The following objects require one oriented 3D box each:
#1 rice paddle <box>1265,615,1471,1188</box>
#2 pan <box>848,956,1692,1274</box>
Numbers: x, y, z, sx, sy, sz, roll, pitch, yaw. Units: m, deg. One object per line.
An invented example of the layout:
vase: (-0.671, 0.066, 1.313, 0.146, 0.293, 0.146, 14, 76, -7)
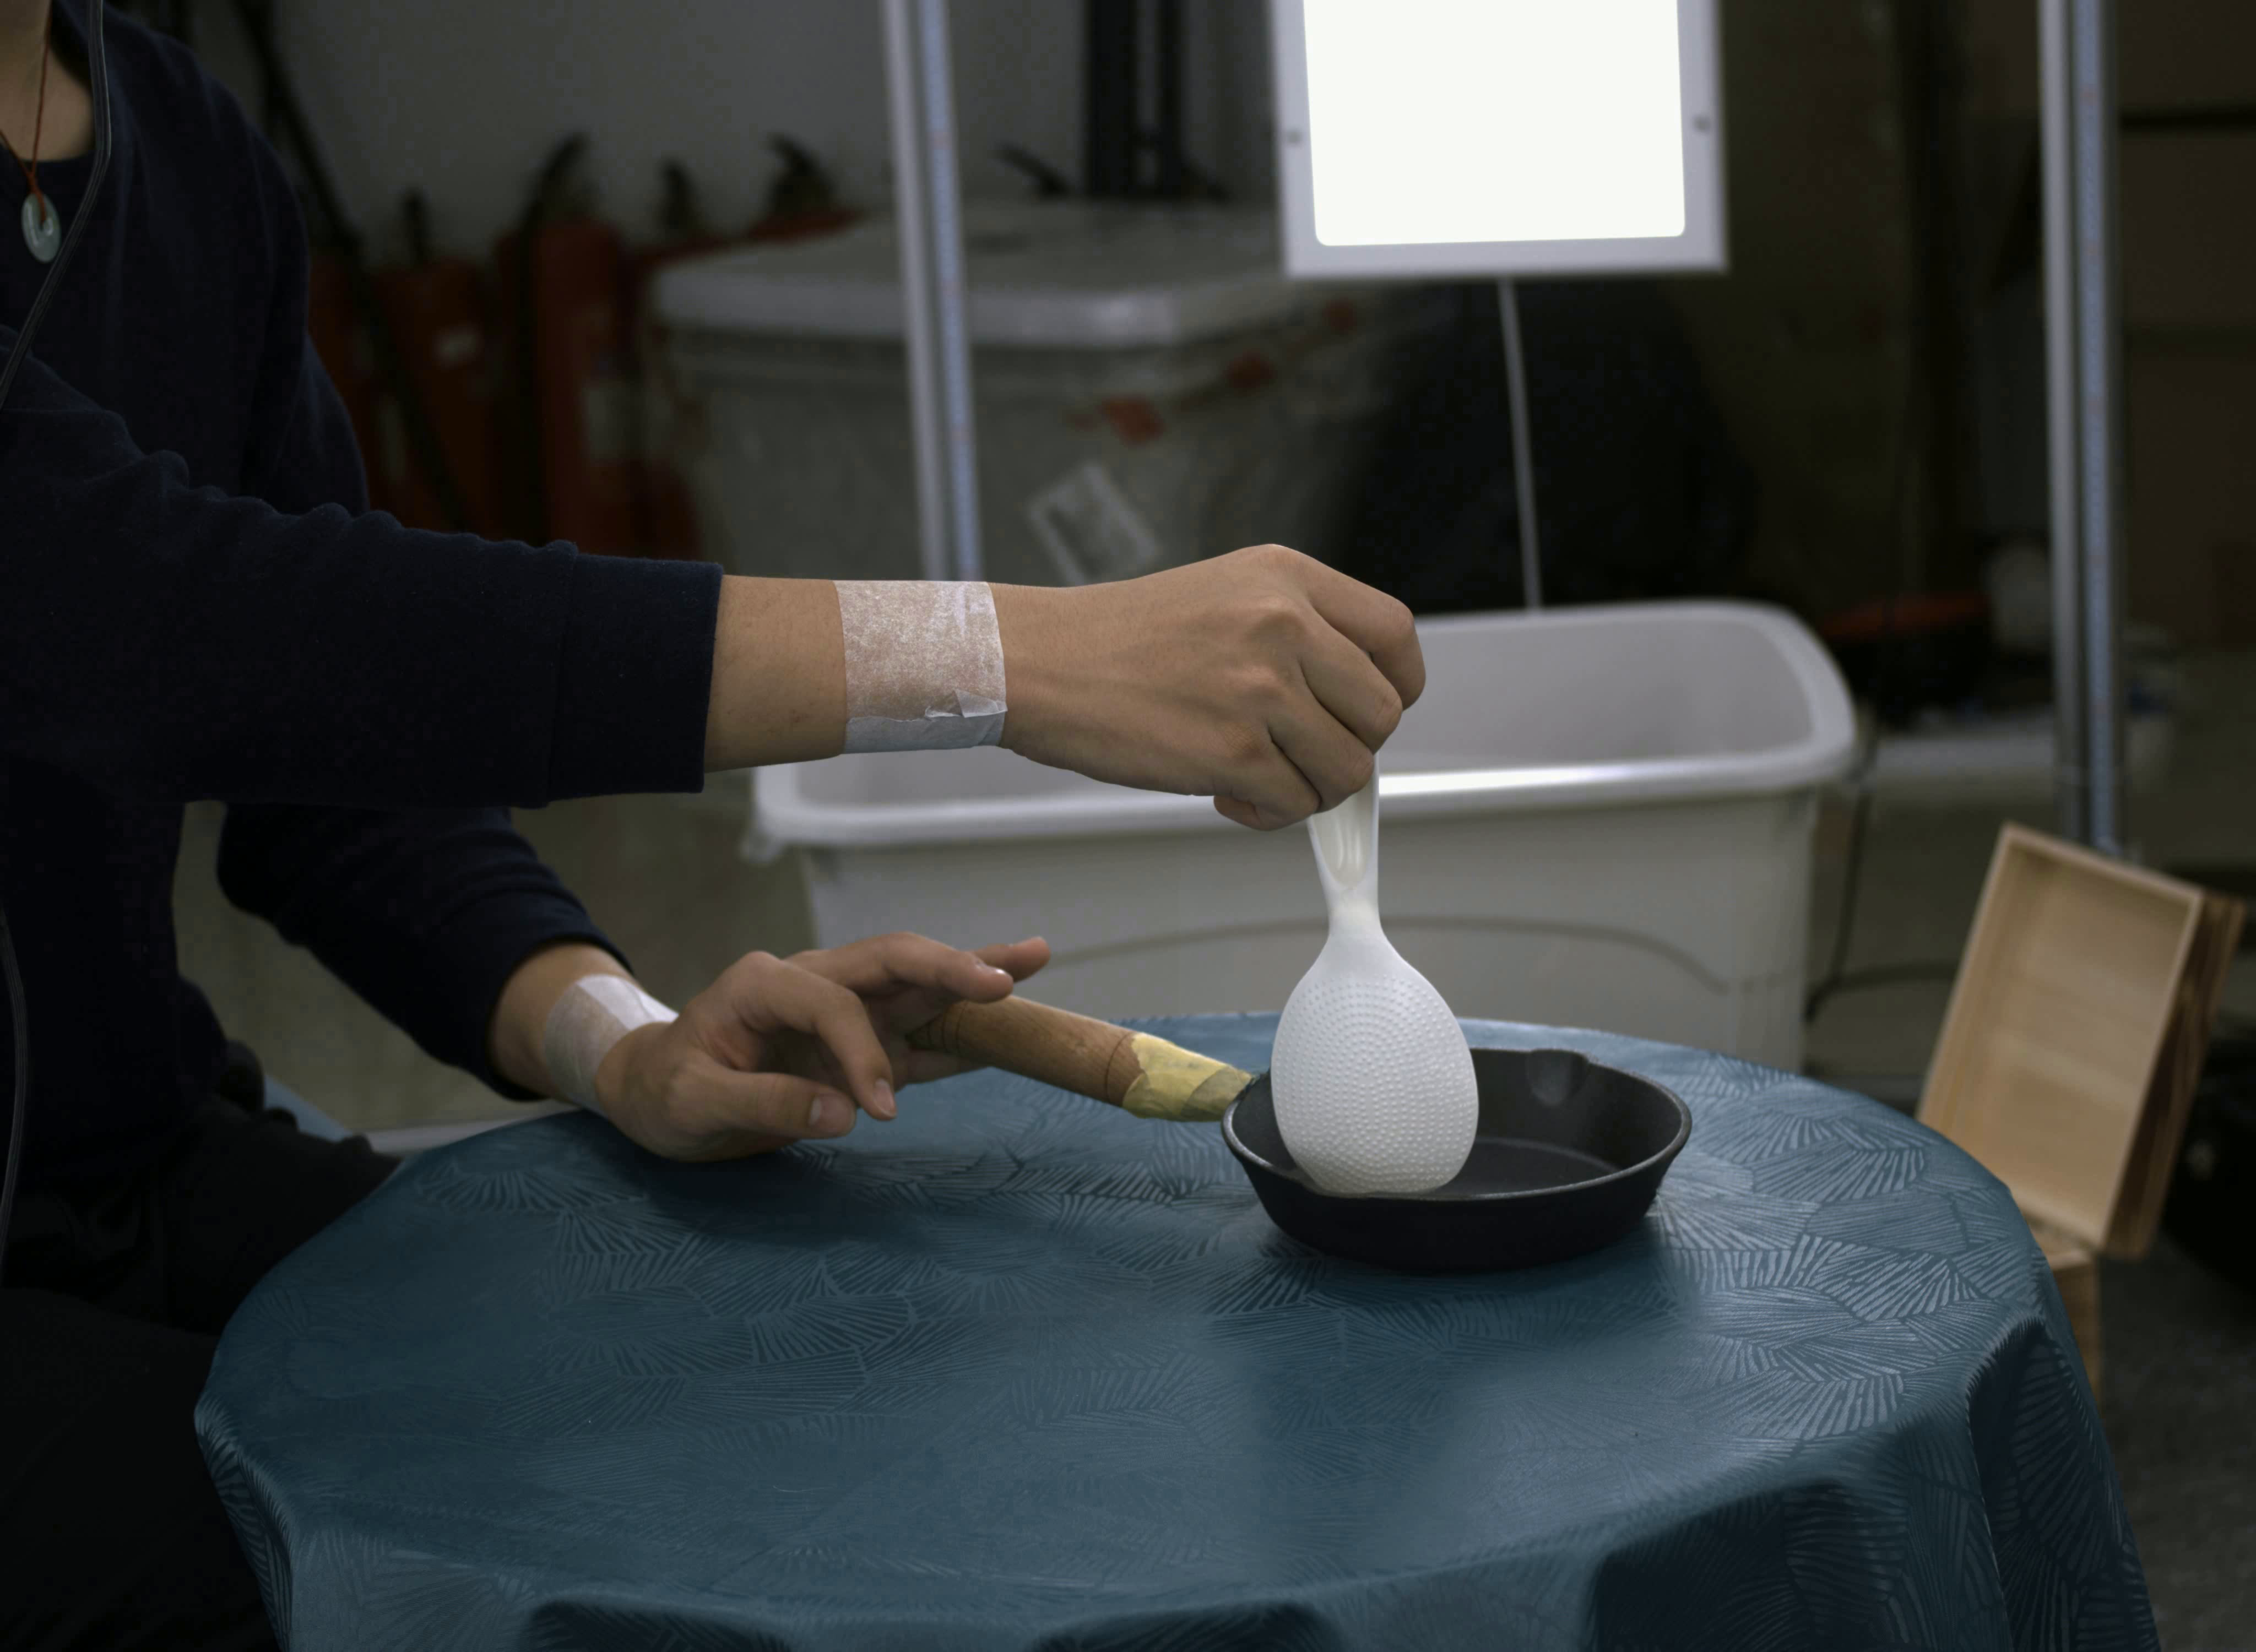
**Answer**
rice paddle: (0.073, 0.032, 1.792, 0.069, 0.206, 0.029, -2, 22, 14)
pan: (0.040, 0.093, 1.879, 0.330, 0.050, 0.165, 10, 20, 34)
